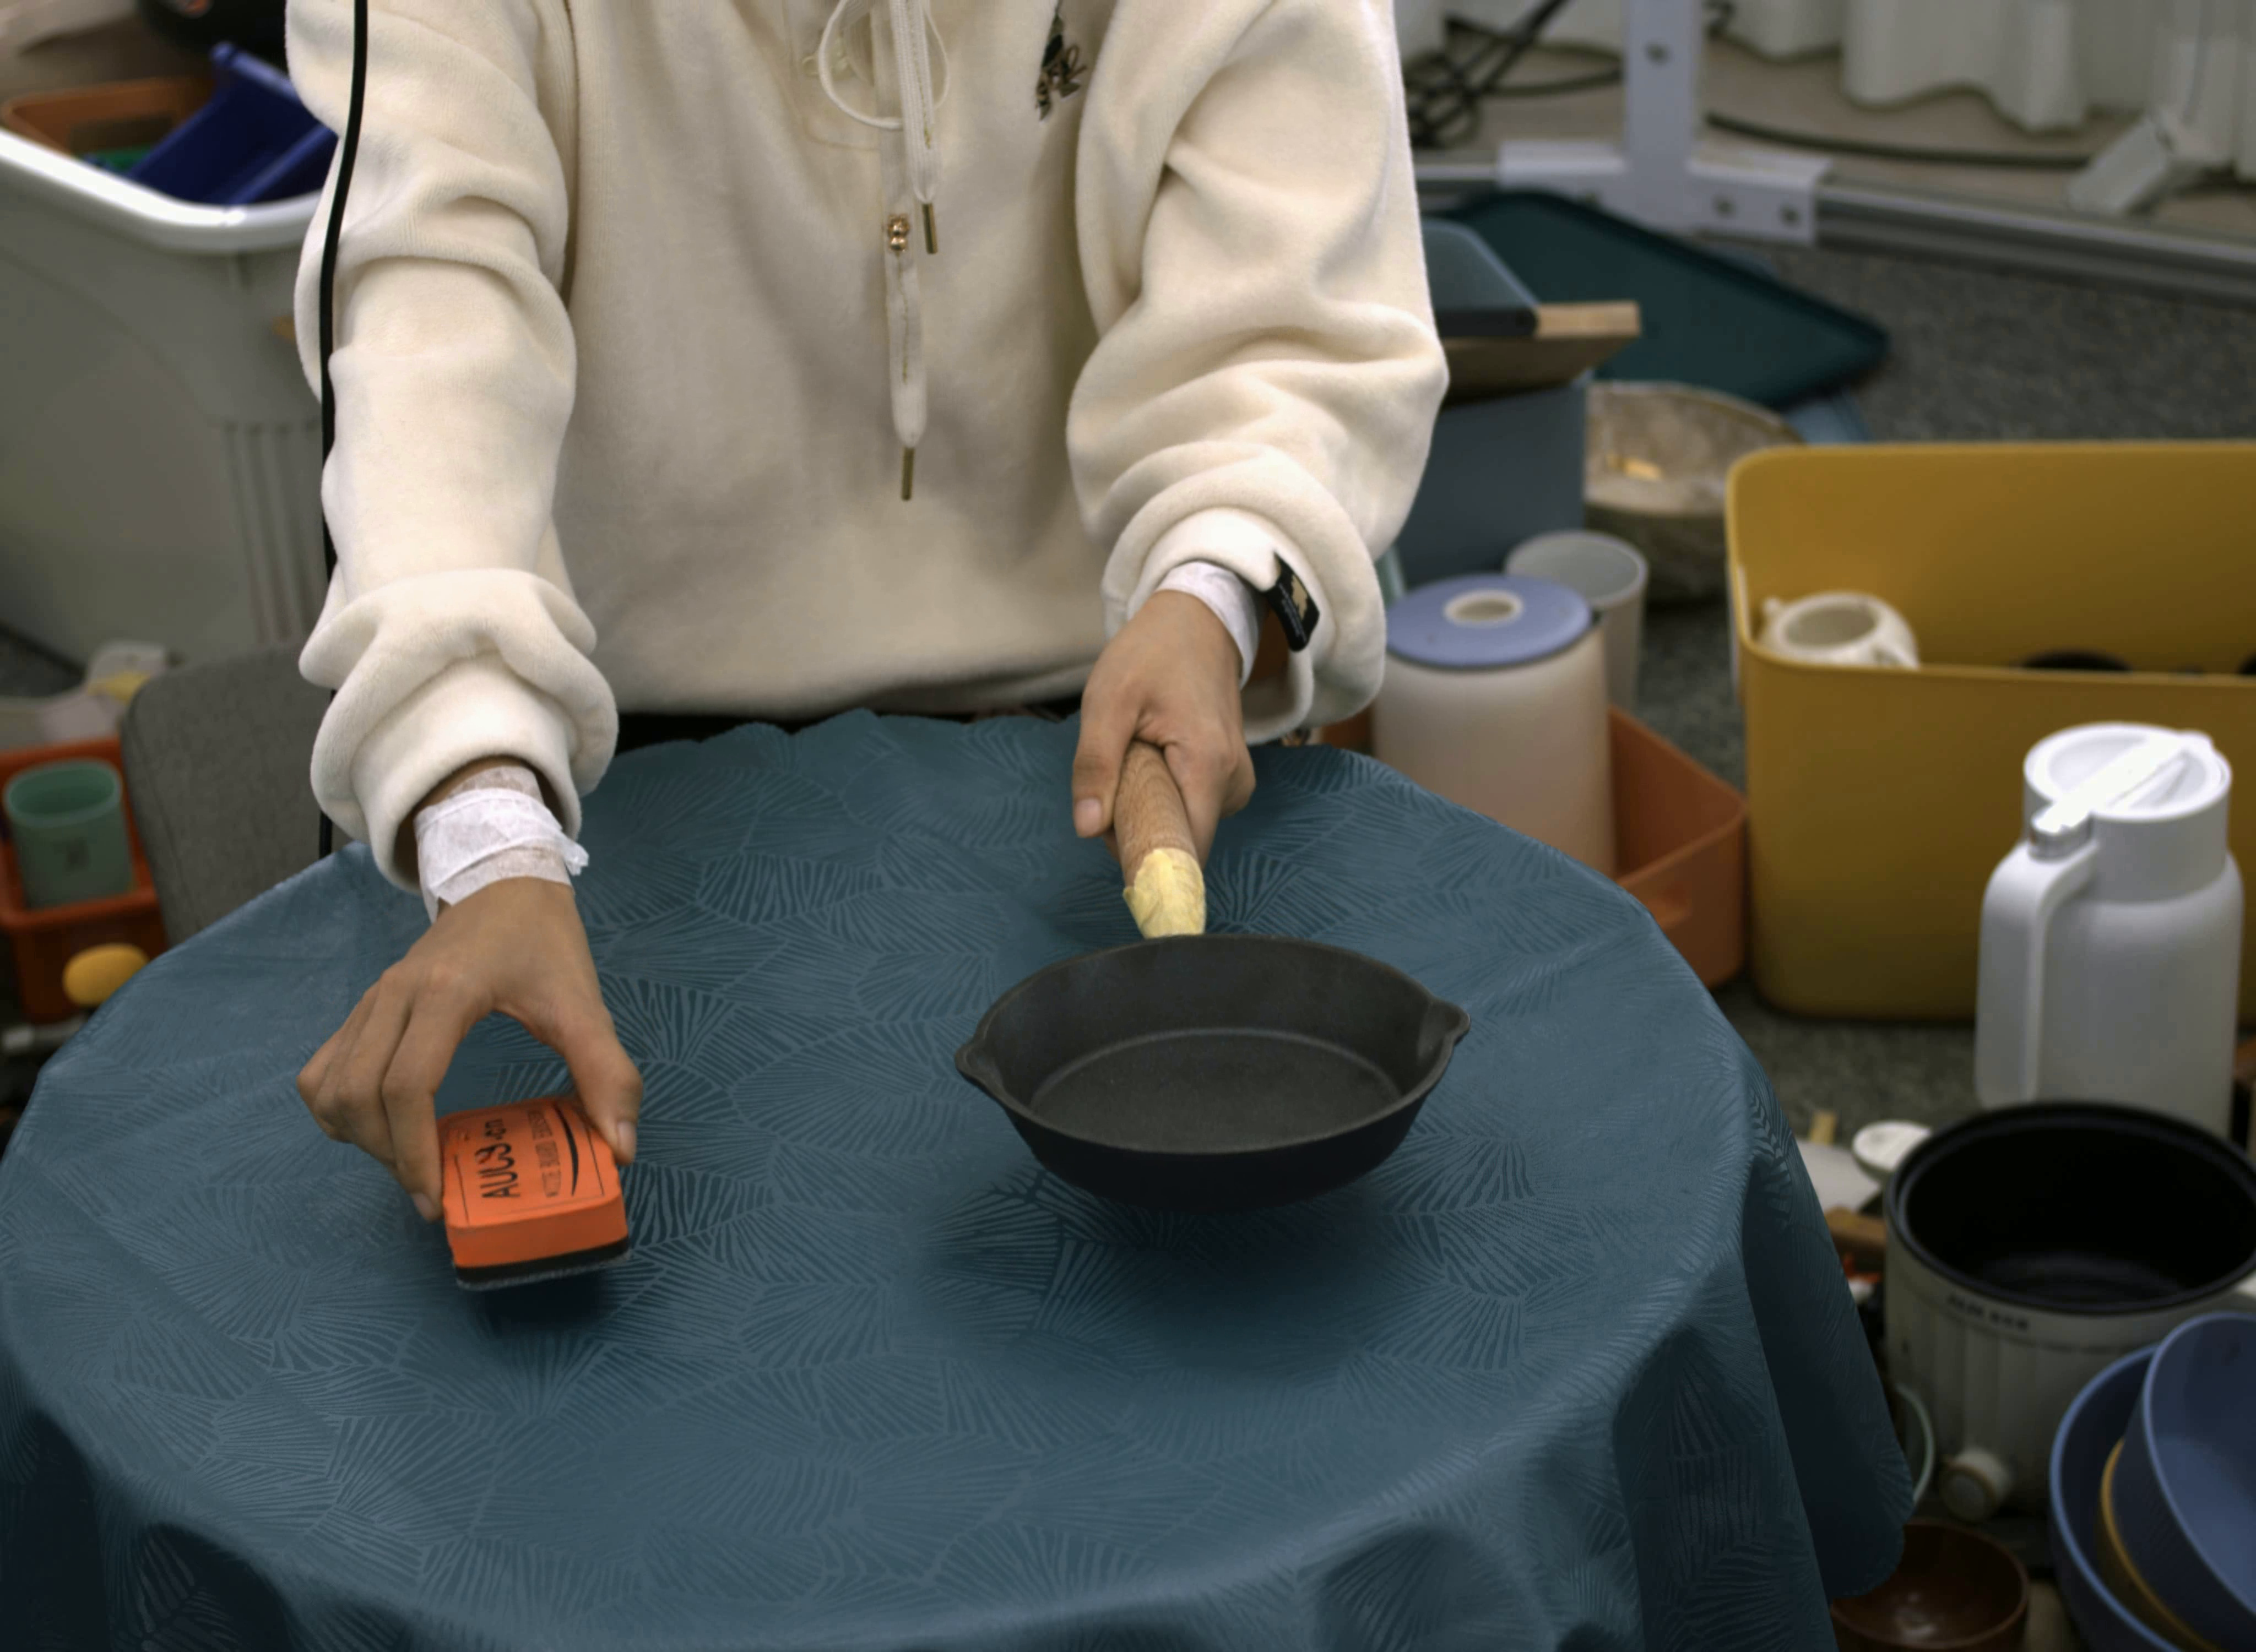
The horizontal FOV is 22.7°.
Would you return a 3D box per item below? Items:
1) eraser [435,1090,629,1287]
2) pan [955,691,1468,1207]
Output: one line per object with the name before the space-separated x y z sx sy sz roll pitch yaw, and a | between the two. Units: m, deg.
eraser | -0.196 0.118 1.836 0.059 0.023 0.109 -11 18 -6
pan | 0.019 0.039 1.910 0.168 0.049 0.328 -4 25 -4
